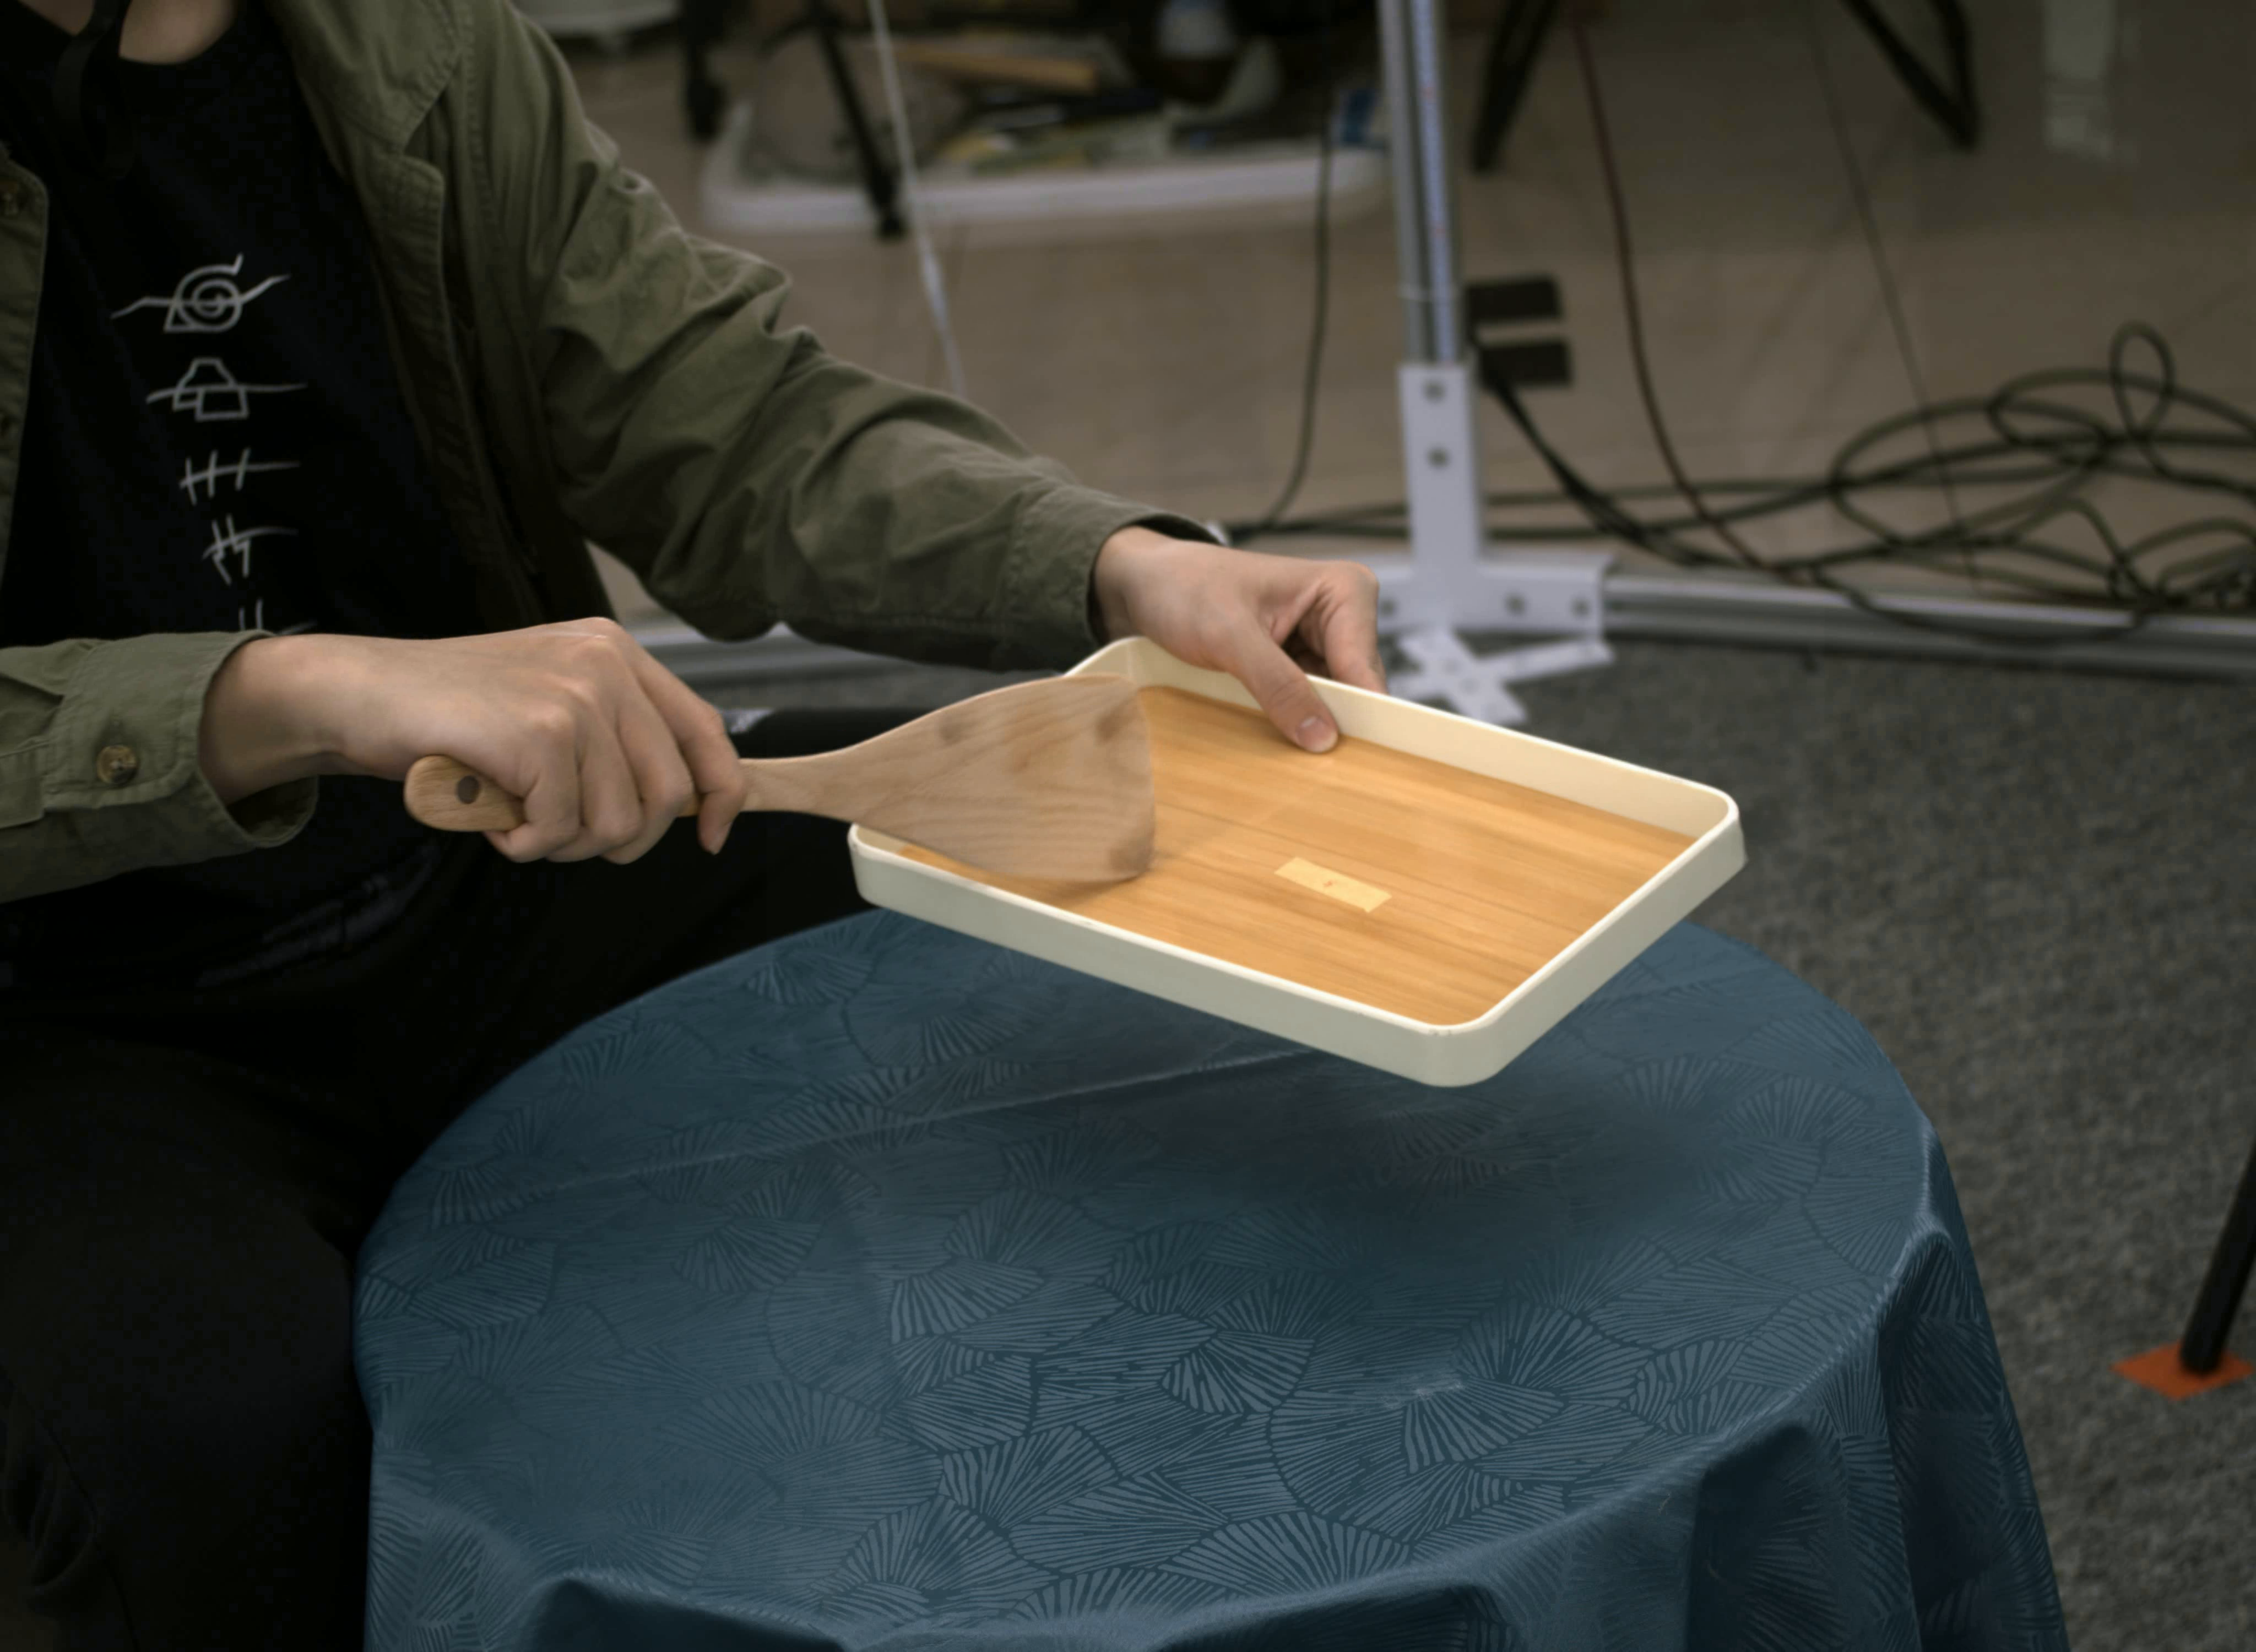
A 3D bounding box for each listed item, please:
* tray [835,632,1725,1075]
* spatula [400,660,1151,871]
[{"bbox_3d":[0.056,0.006,2.139,0.298,0.028,0.189,17,38,37],"label":"tray"},{"bbox_3d":[-0.121,-0.017,2.043,0.327,0.080,0.016,-4,11,-39],"label":"spatula"}]
